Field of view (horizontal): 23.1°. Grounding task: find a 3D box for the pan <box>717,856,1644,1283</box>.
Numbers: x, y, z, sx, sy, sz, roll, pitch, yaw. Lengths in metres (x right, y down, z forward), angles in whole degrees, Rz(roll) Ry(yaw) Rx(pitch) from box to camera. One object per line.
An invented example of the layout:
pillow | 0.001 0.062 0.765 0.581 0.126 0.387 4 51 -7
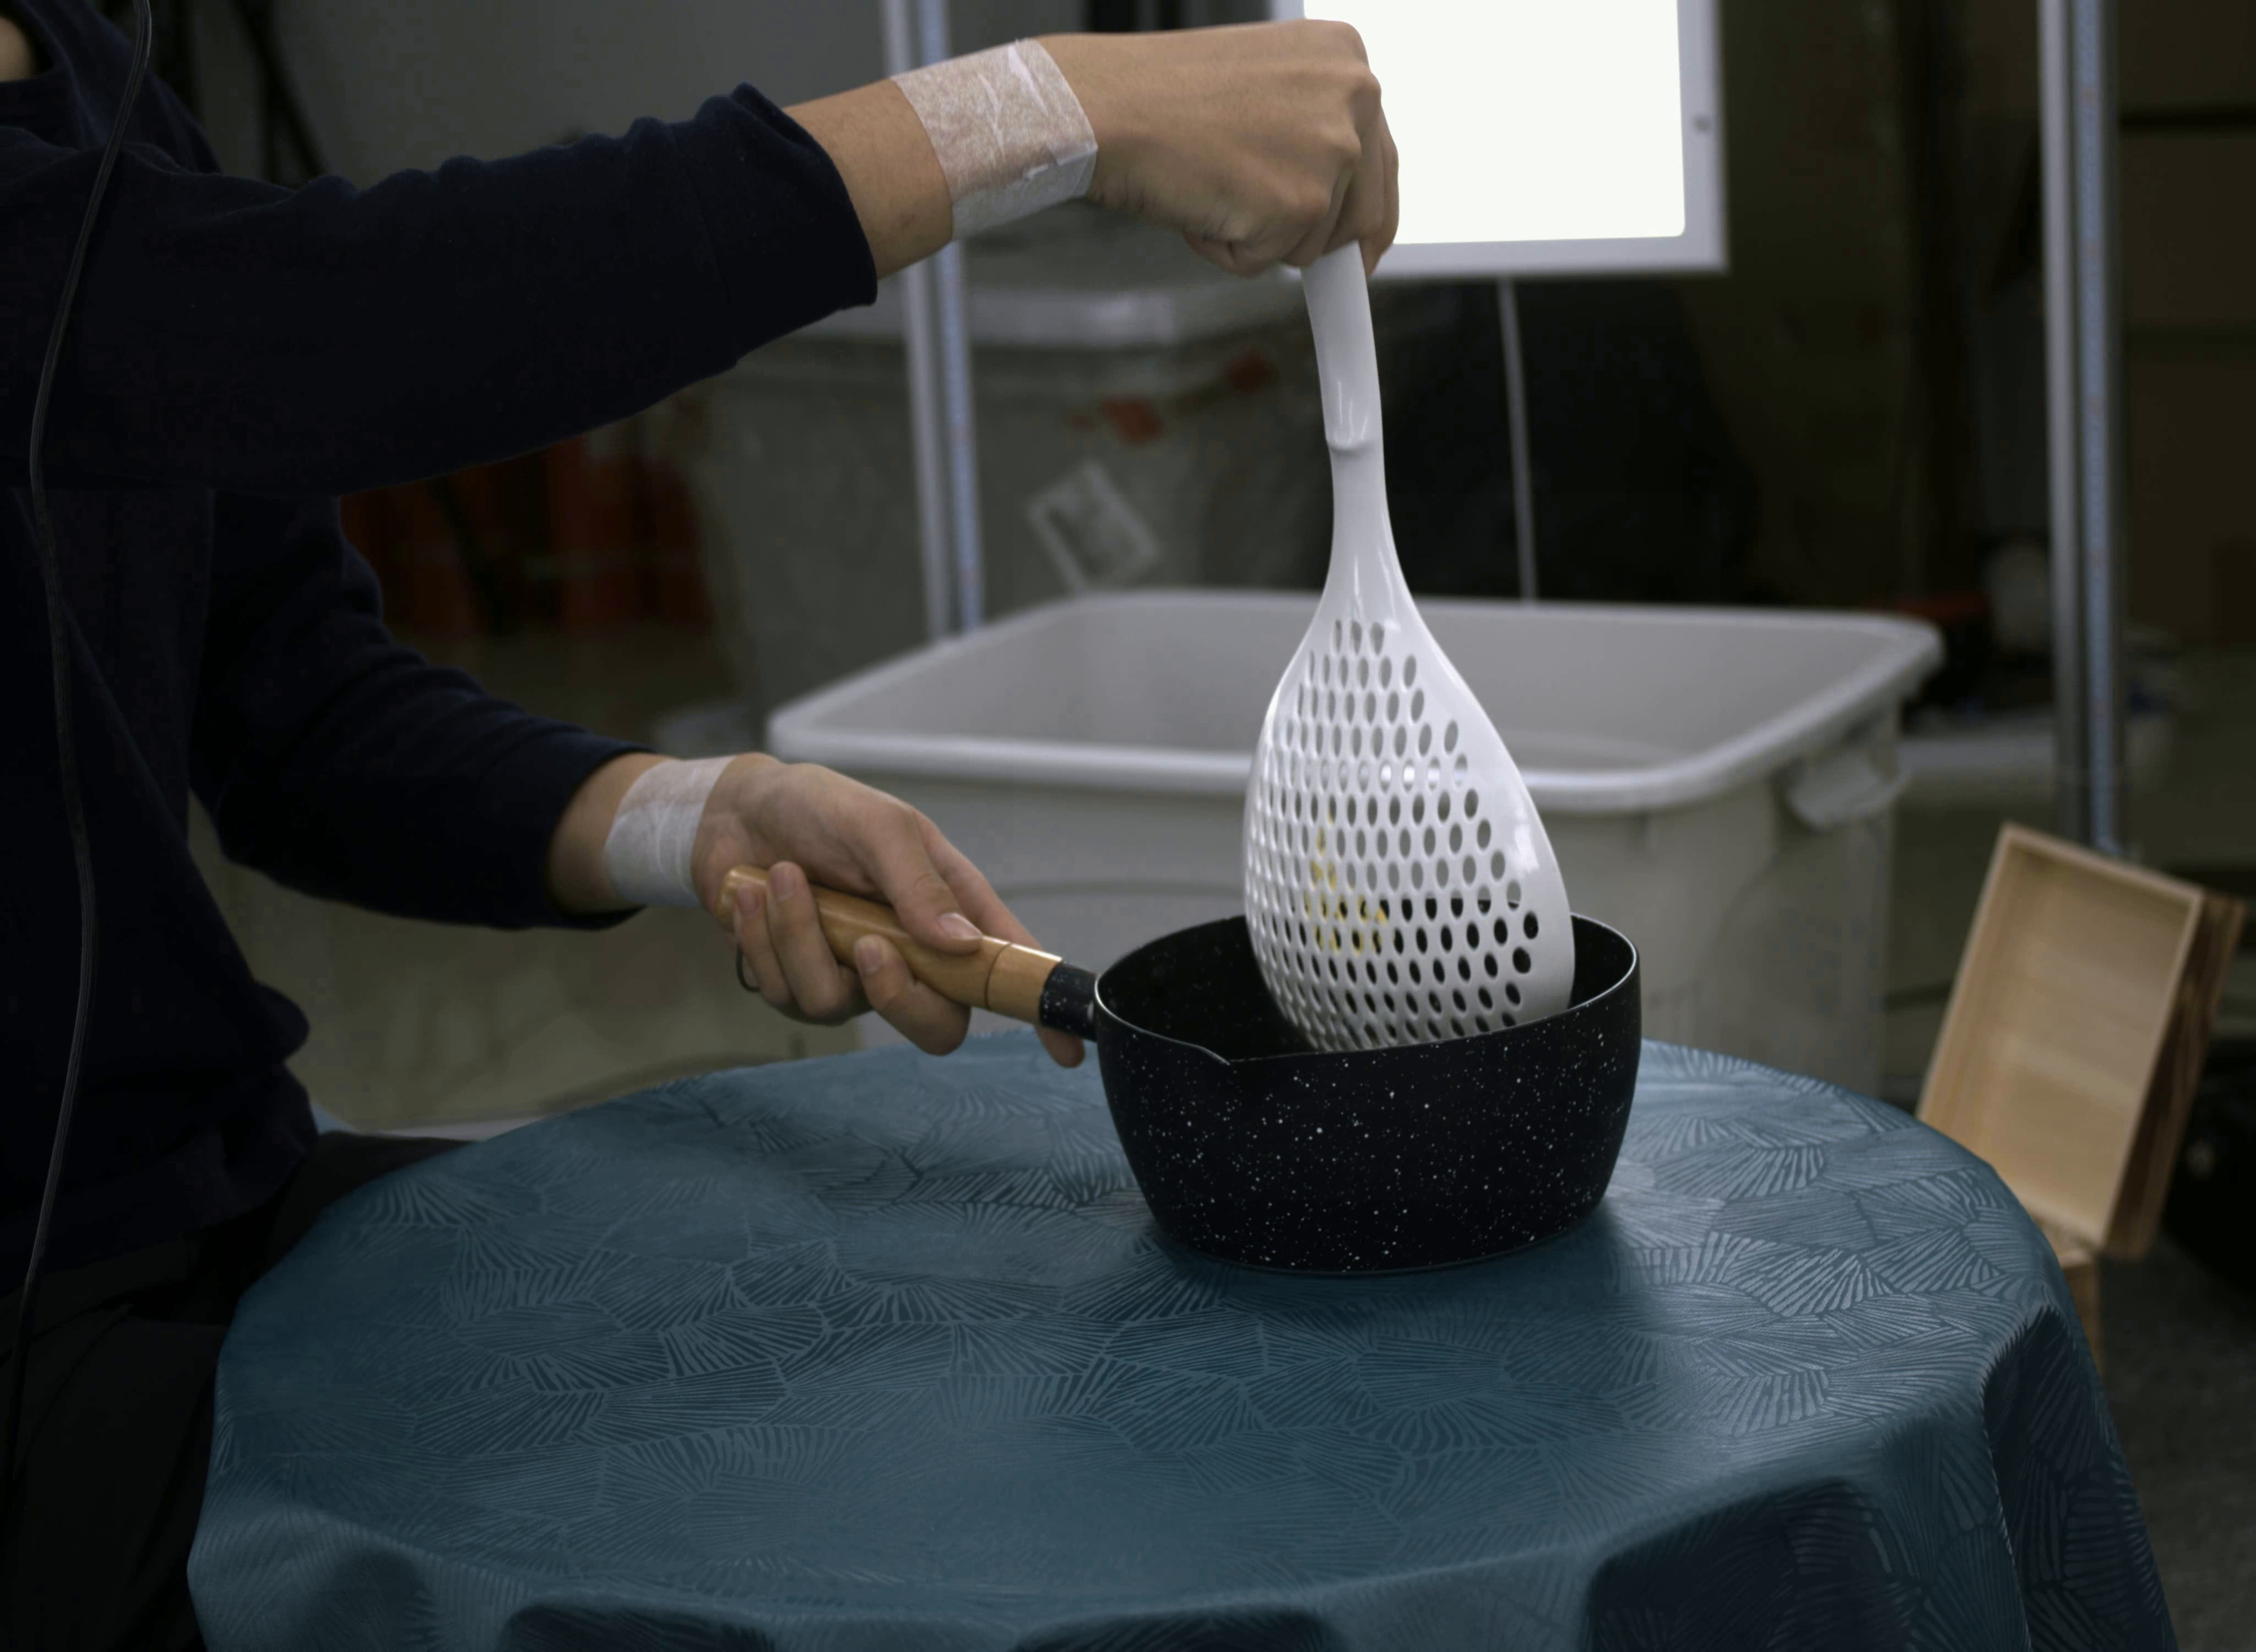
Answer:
pan | 0.011 0.074 1.881 0.349 0.108 0.203 3 17 27

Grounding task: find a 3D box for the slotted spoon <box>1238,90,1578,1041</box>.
slotted spoon | 0.078 -0.073 1.837 0.139 0.349 0.049 6 15 38
